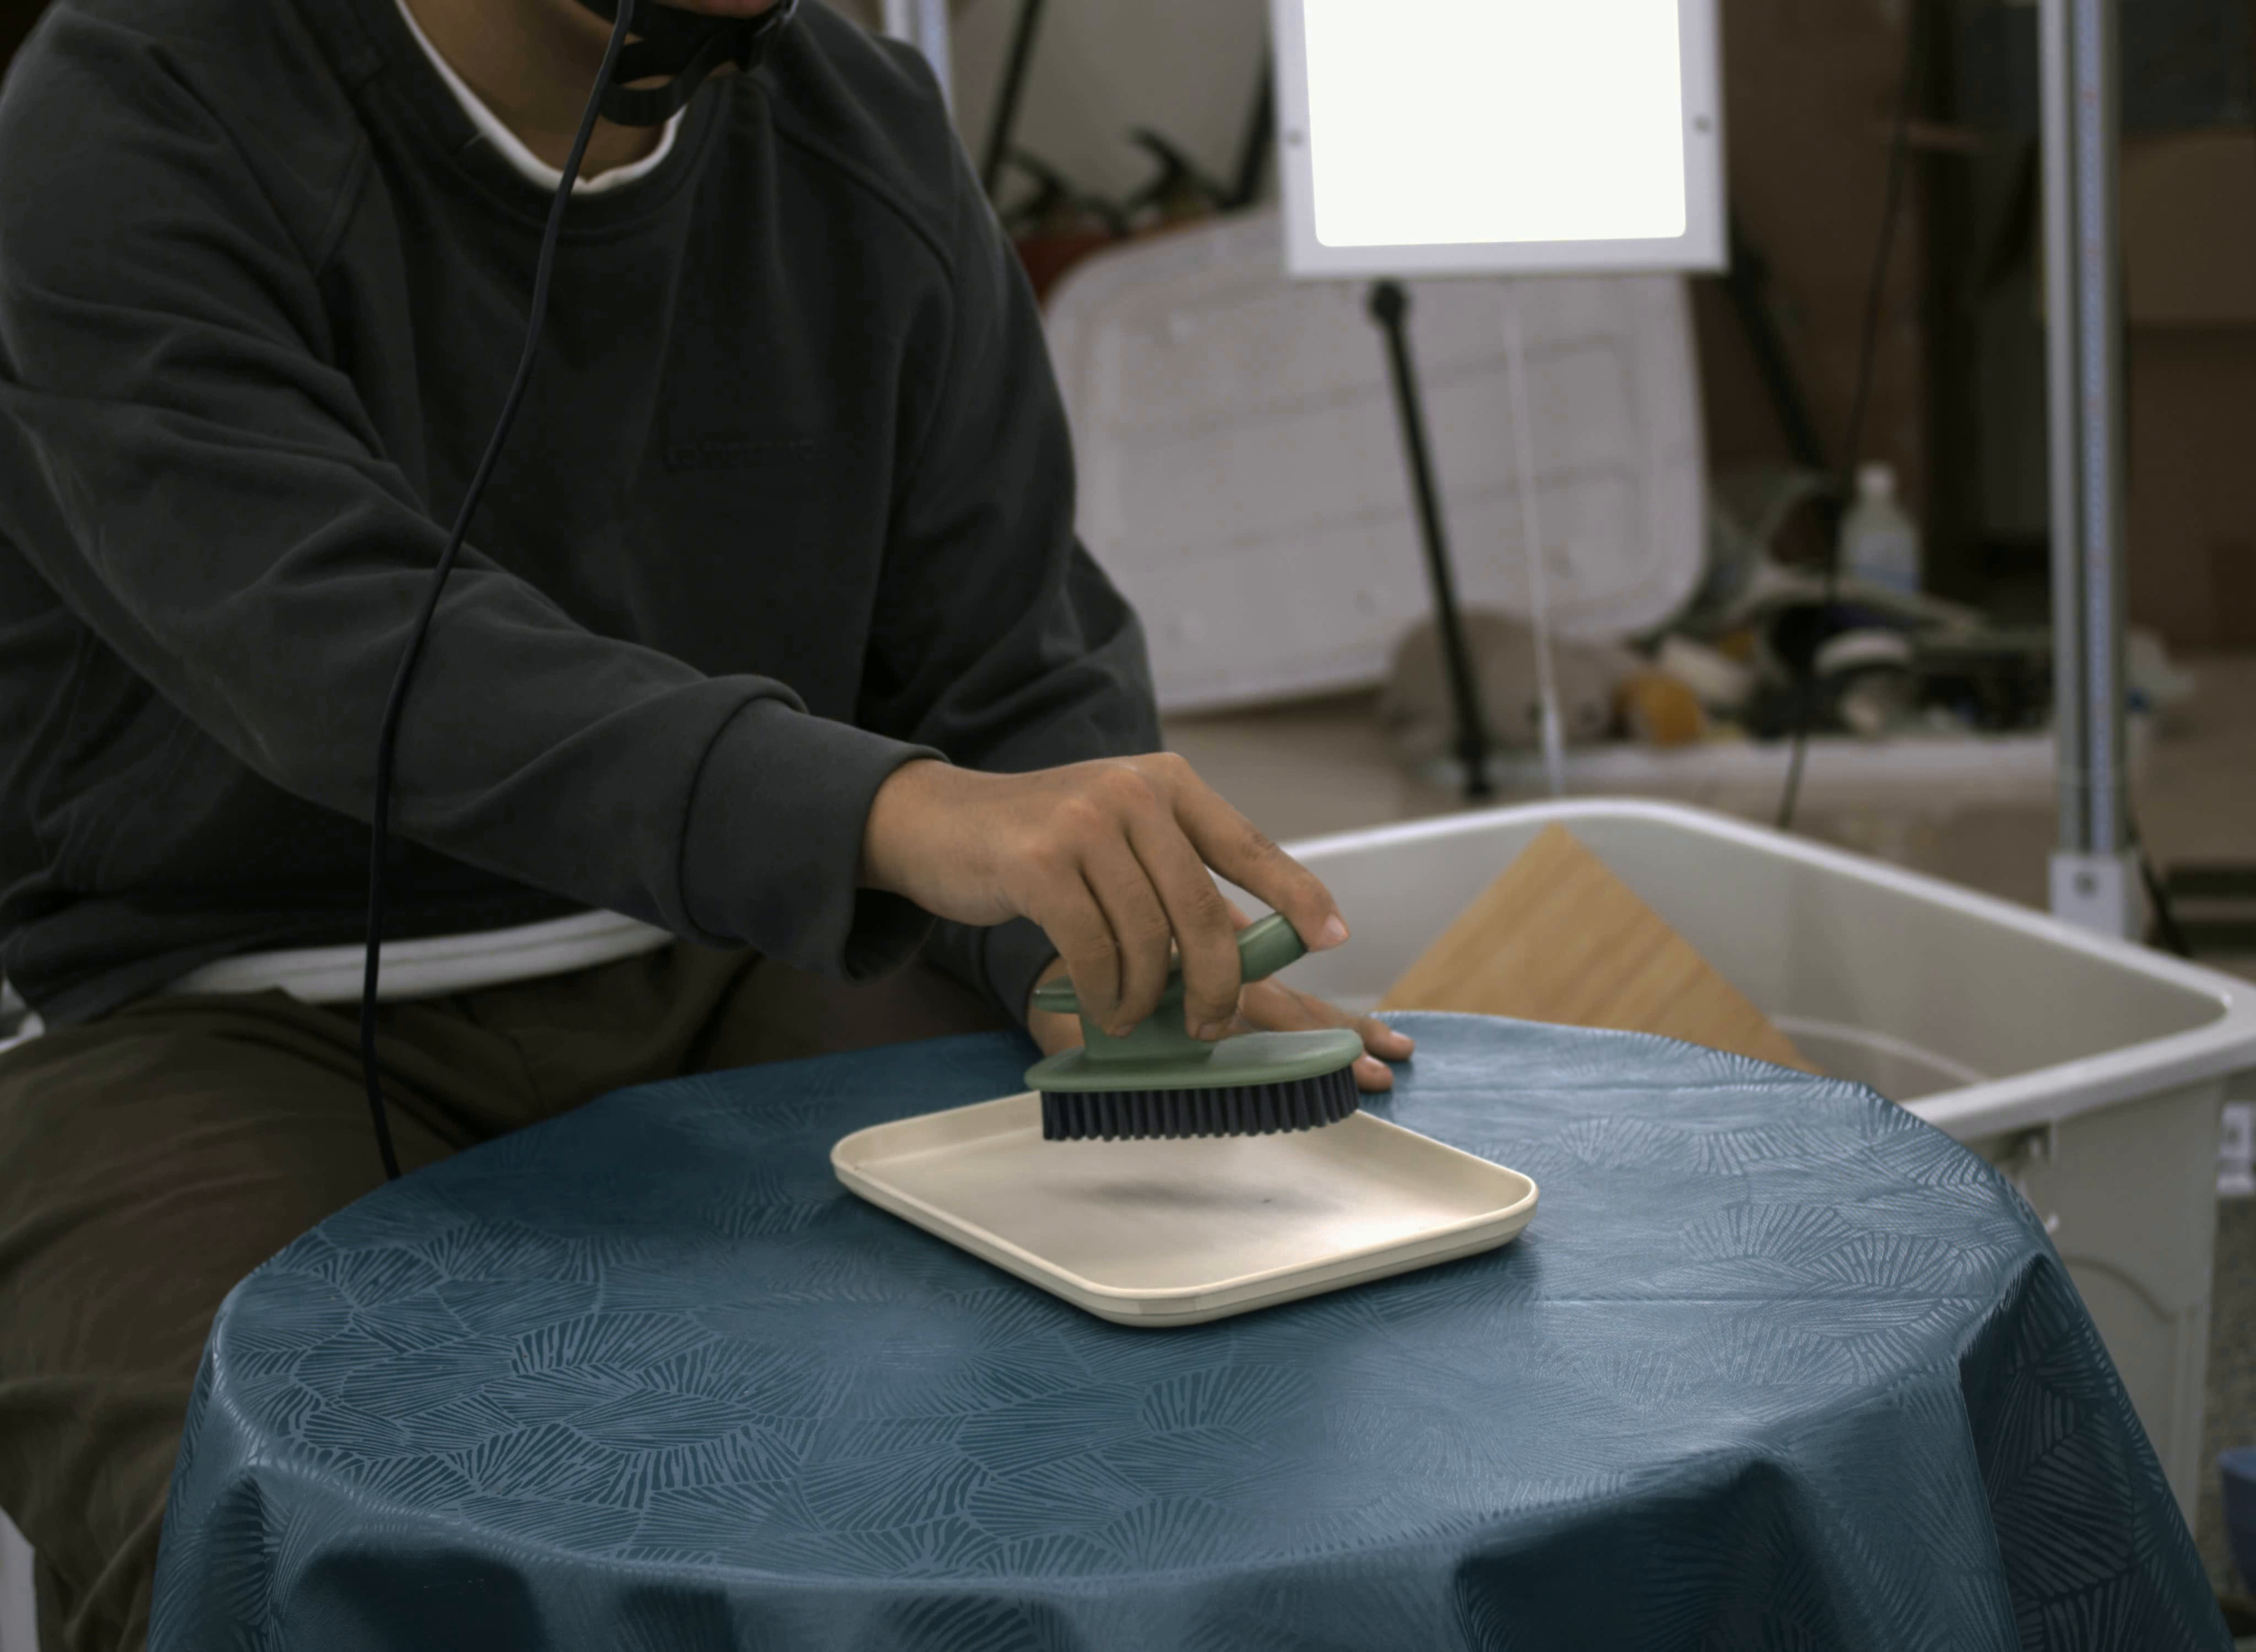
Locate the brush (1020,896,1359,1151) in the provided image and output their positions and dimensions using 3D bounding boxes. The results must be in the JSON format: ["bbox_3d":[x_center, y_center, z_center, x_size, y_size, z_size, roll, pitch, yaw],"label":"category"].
[{"bbox_3d":[0.022,0.075,1.855,0.125,0.076,0.058,-20,2,28],"label":"brush"}]

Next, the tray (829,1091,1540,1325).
[{"bbox_3d":[0.017,0.123,1.868,0.167,0.017,0.244,-11,15,-26],"label":"tray"}]
